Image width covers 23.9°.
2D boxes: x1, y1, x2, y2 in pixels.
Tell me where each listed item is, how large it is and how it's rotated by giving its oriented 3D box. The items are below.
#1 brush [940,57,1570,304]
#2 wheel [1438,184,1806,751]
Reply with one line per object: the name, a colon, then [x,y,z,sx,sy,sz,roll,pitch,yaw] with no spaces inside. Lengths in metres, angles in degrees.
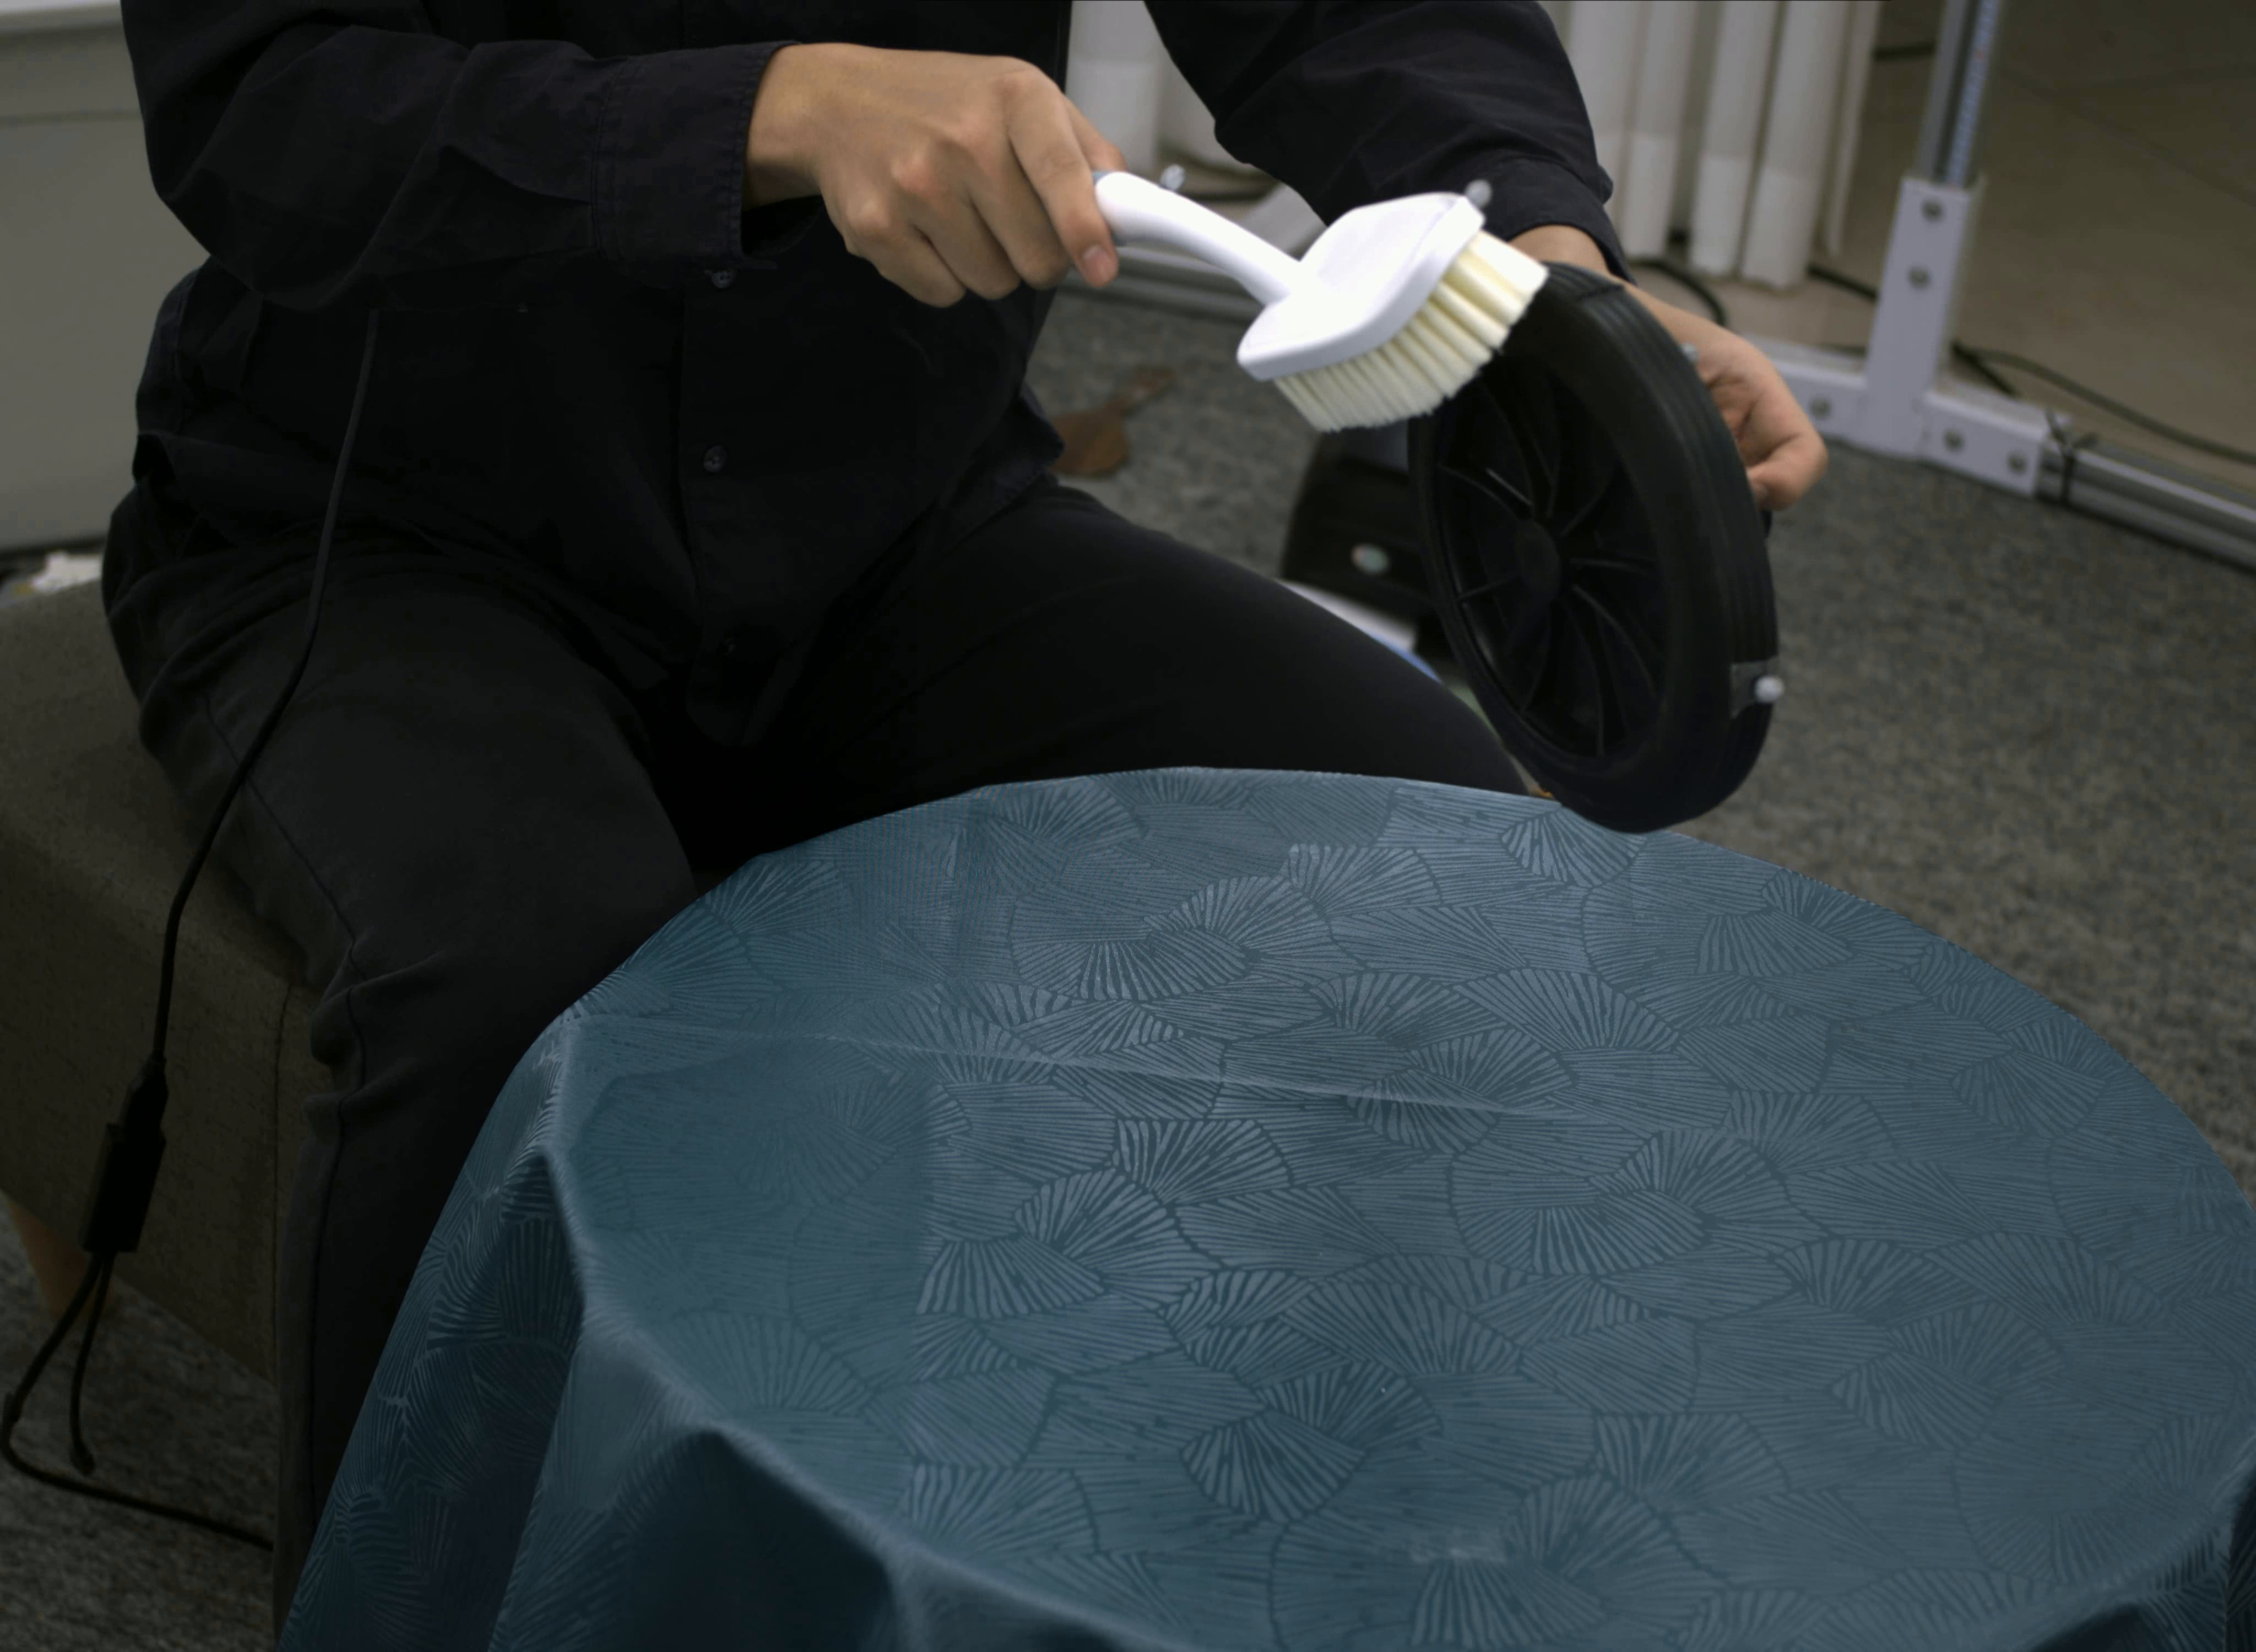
brush: [0.049,-0.223,1.800,0.082,0.084,0.327,-21,18,-29]
wheel: [0.178,-0.123,1.755,0.079,0.187,0.191,-19,69,-24]
